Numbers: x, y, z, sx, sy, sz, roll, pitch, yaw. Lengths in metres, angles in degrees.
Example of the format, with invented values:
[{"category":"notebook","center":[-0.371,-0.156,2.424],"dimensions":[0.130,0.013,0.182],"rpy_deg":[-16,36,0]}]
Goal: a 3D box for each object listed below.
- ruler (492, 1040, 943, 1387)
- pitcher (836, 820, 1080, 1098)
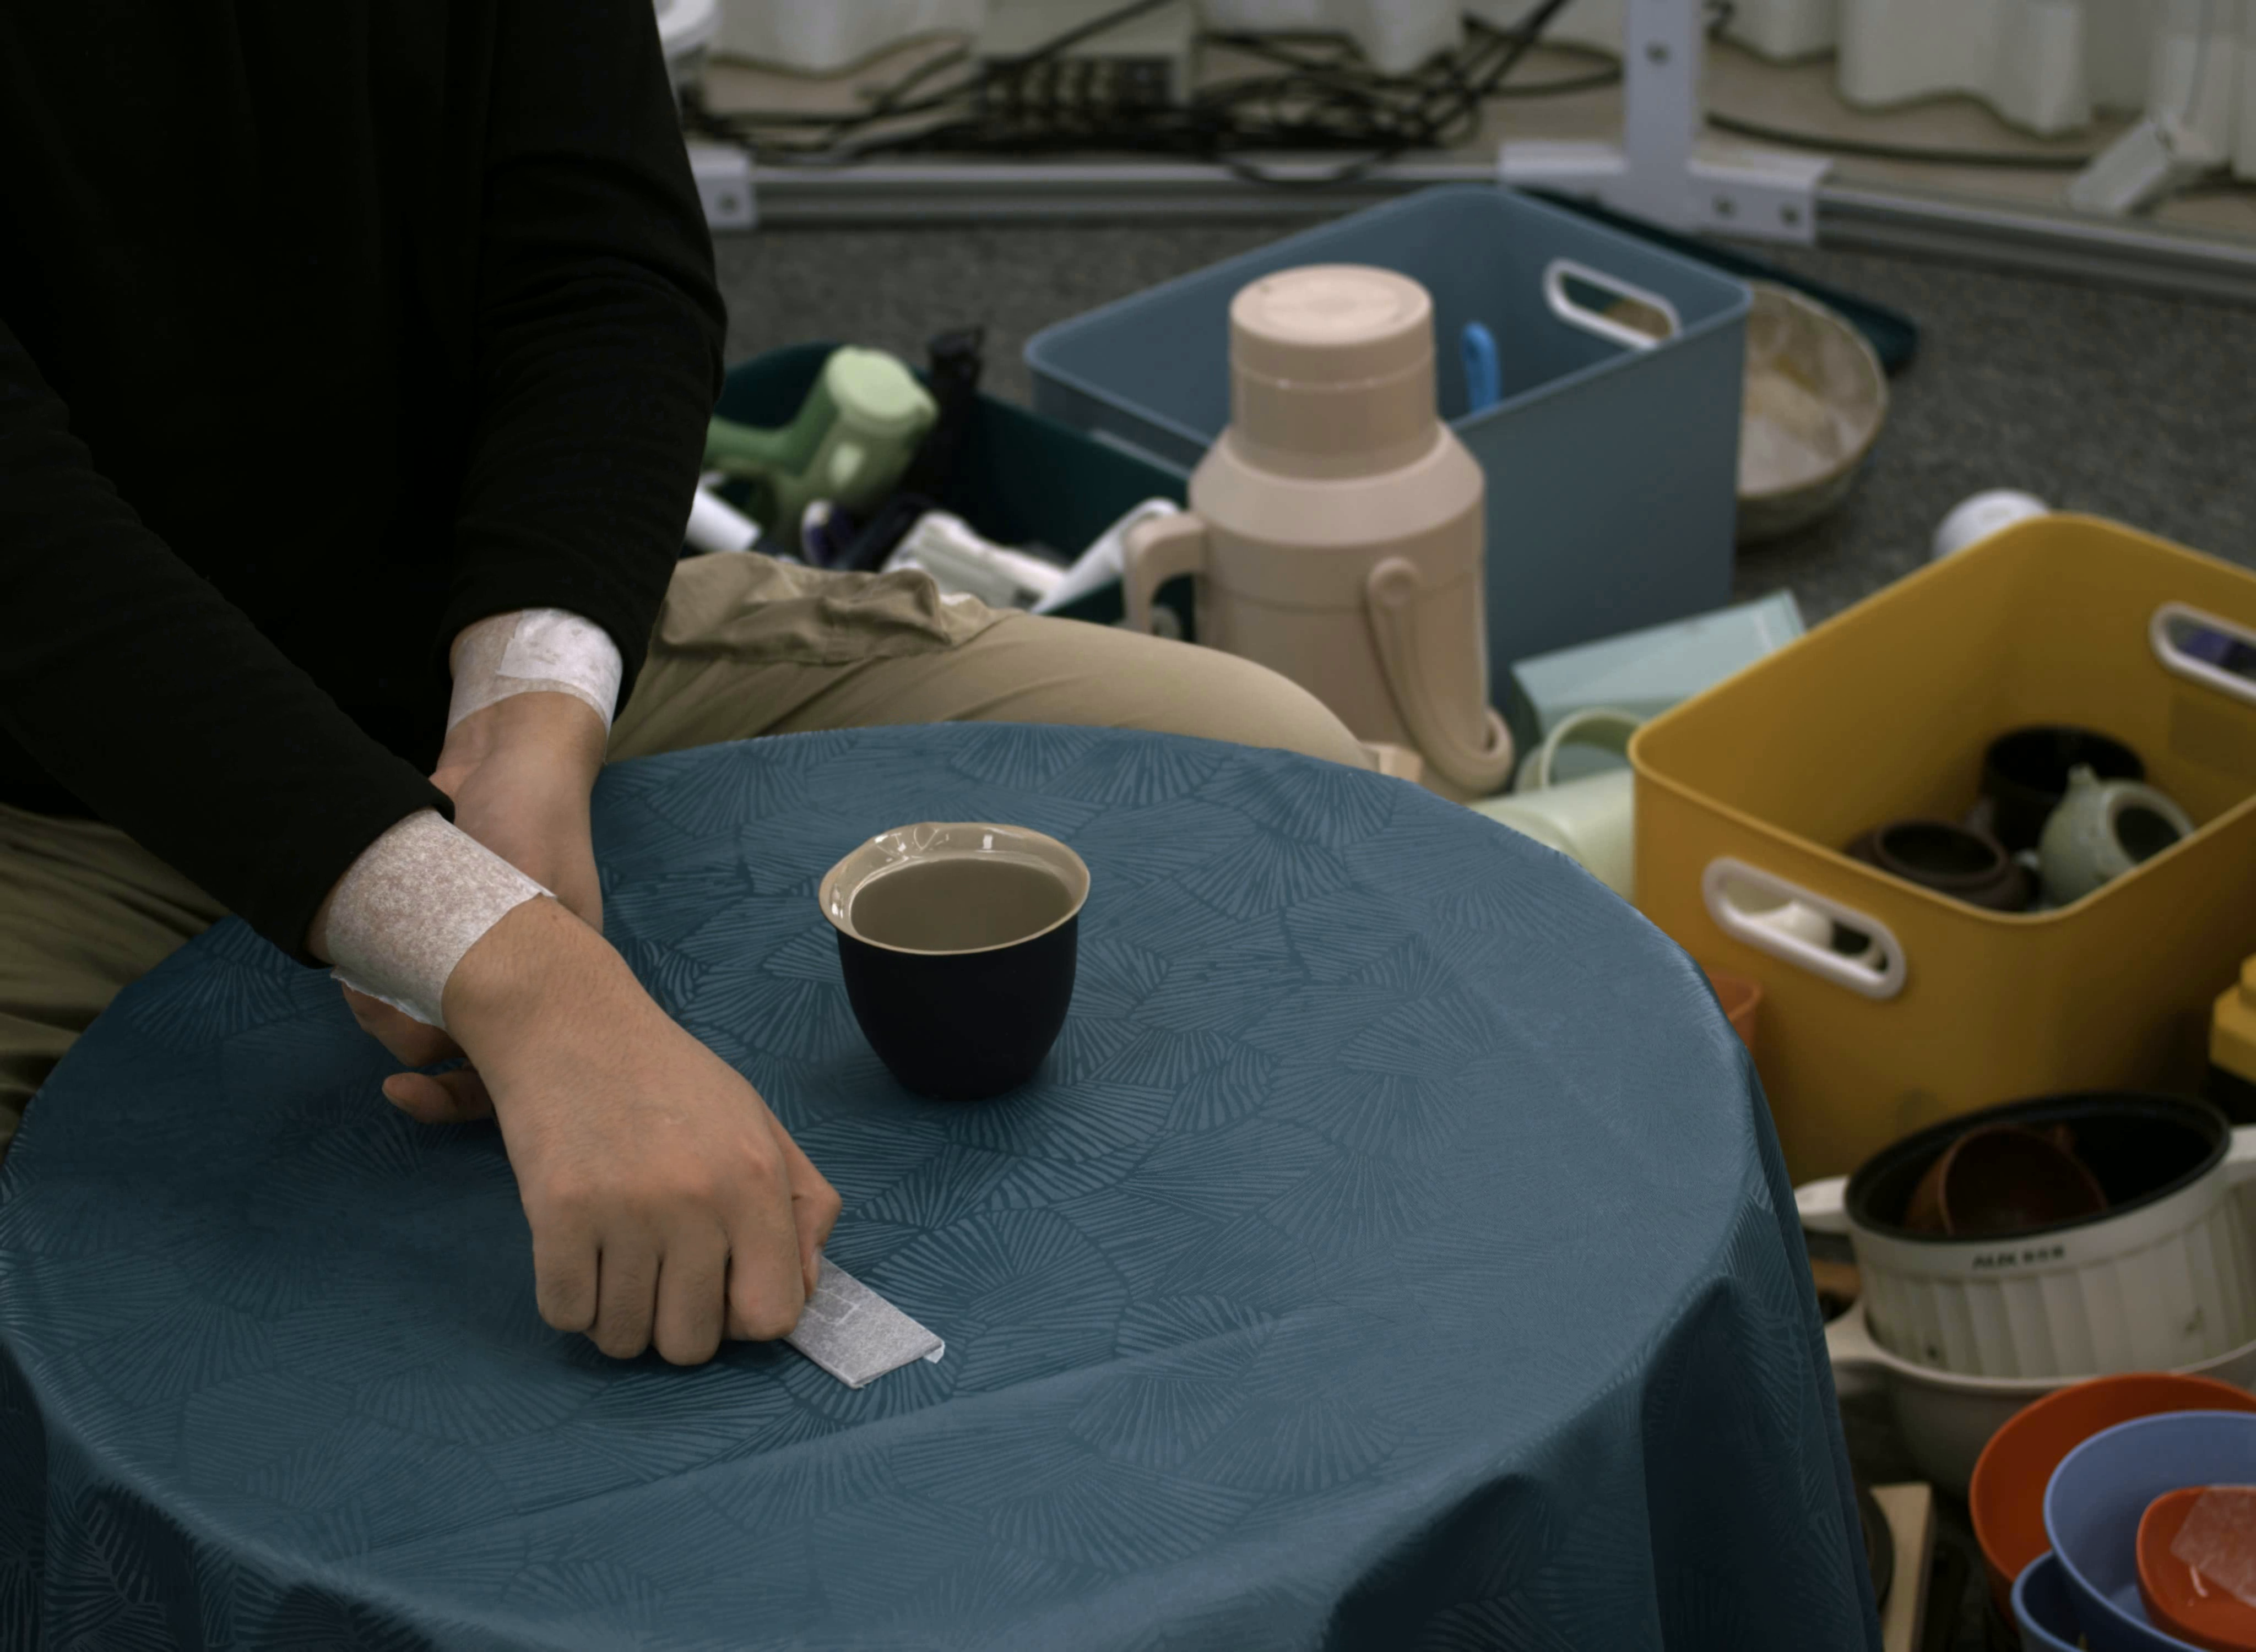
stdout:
[{"category":"ruler","center":[-0.141,0.123,1.839],"dimensions":[0.039,0.024,0.218],"rpy_deg":[-29,37,-29]},{"category":"pitcher","center":[-0.059,0.049,1.929],"dimensions":[0.084,0.070,0.096],"rpy_deg":[-15,30,-20]}]
